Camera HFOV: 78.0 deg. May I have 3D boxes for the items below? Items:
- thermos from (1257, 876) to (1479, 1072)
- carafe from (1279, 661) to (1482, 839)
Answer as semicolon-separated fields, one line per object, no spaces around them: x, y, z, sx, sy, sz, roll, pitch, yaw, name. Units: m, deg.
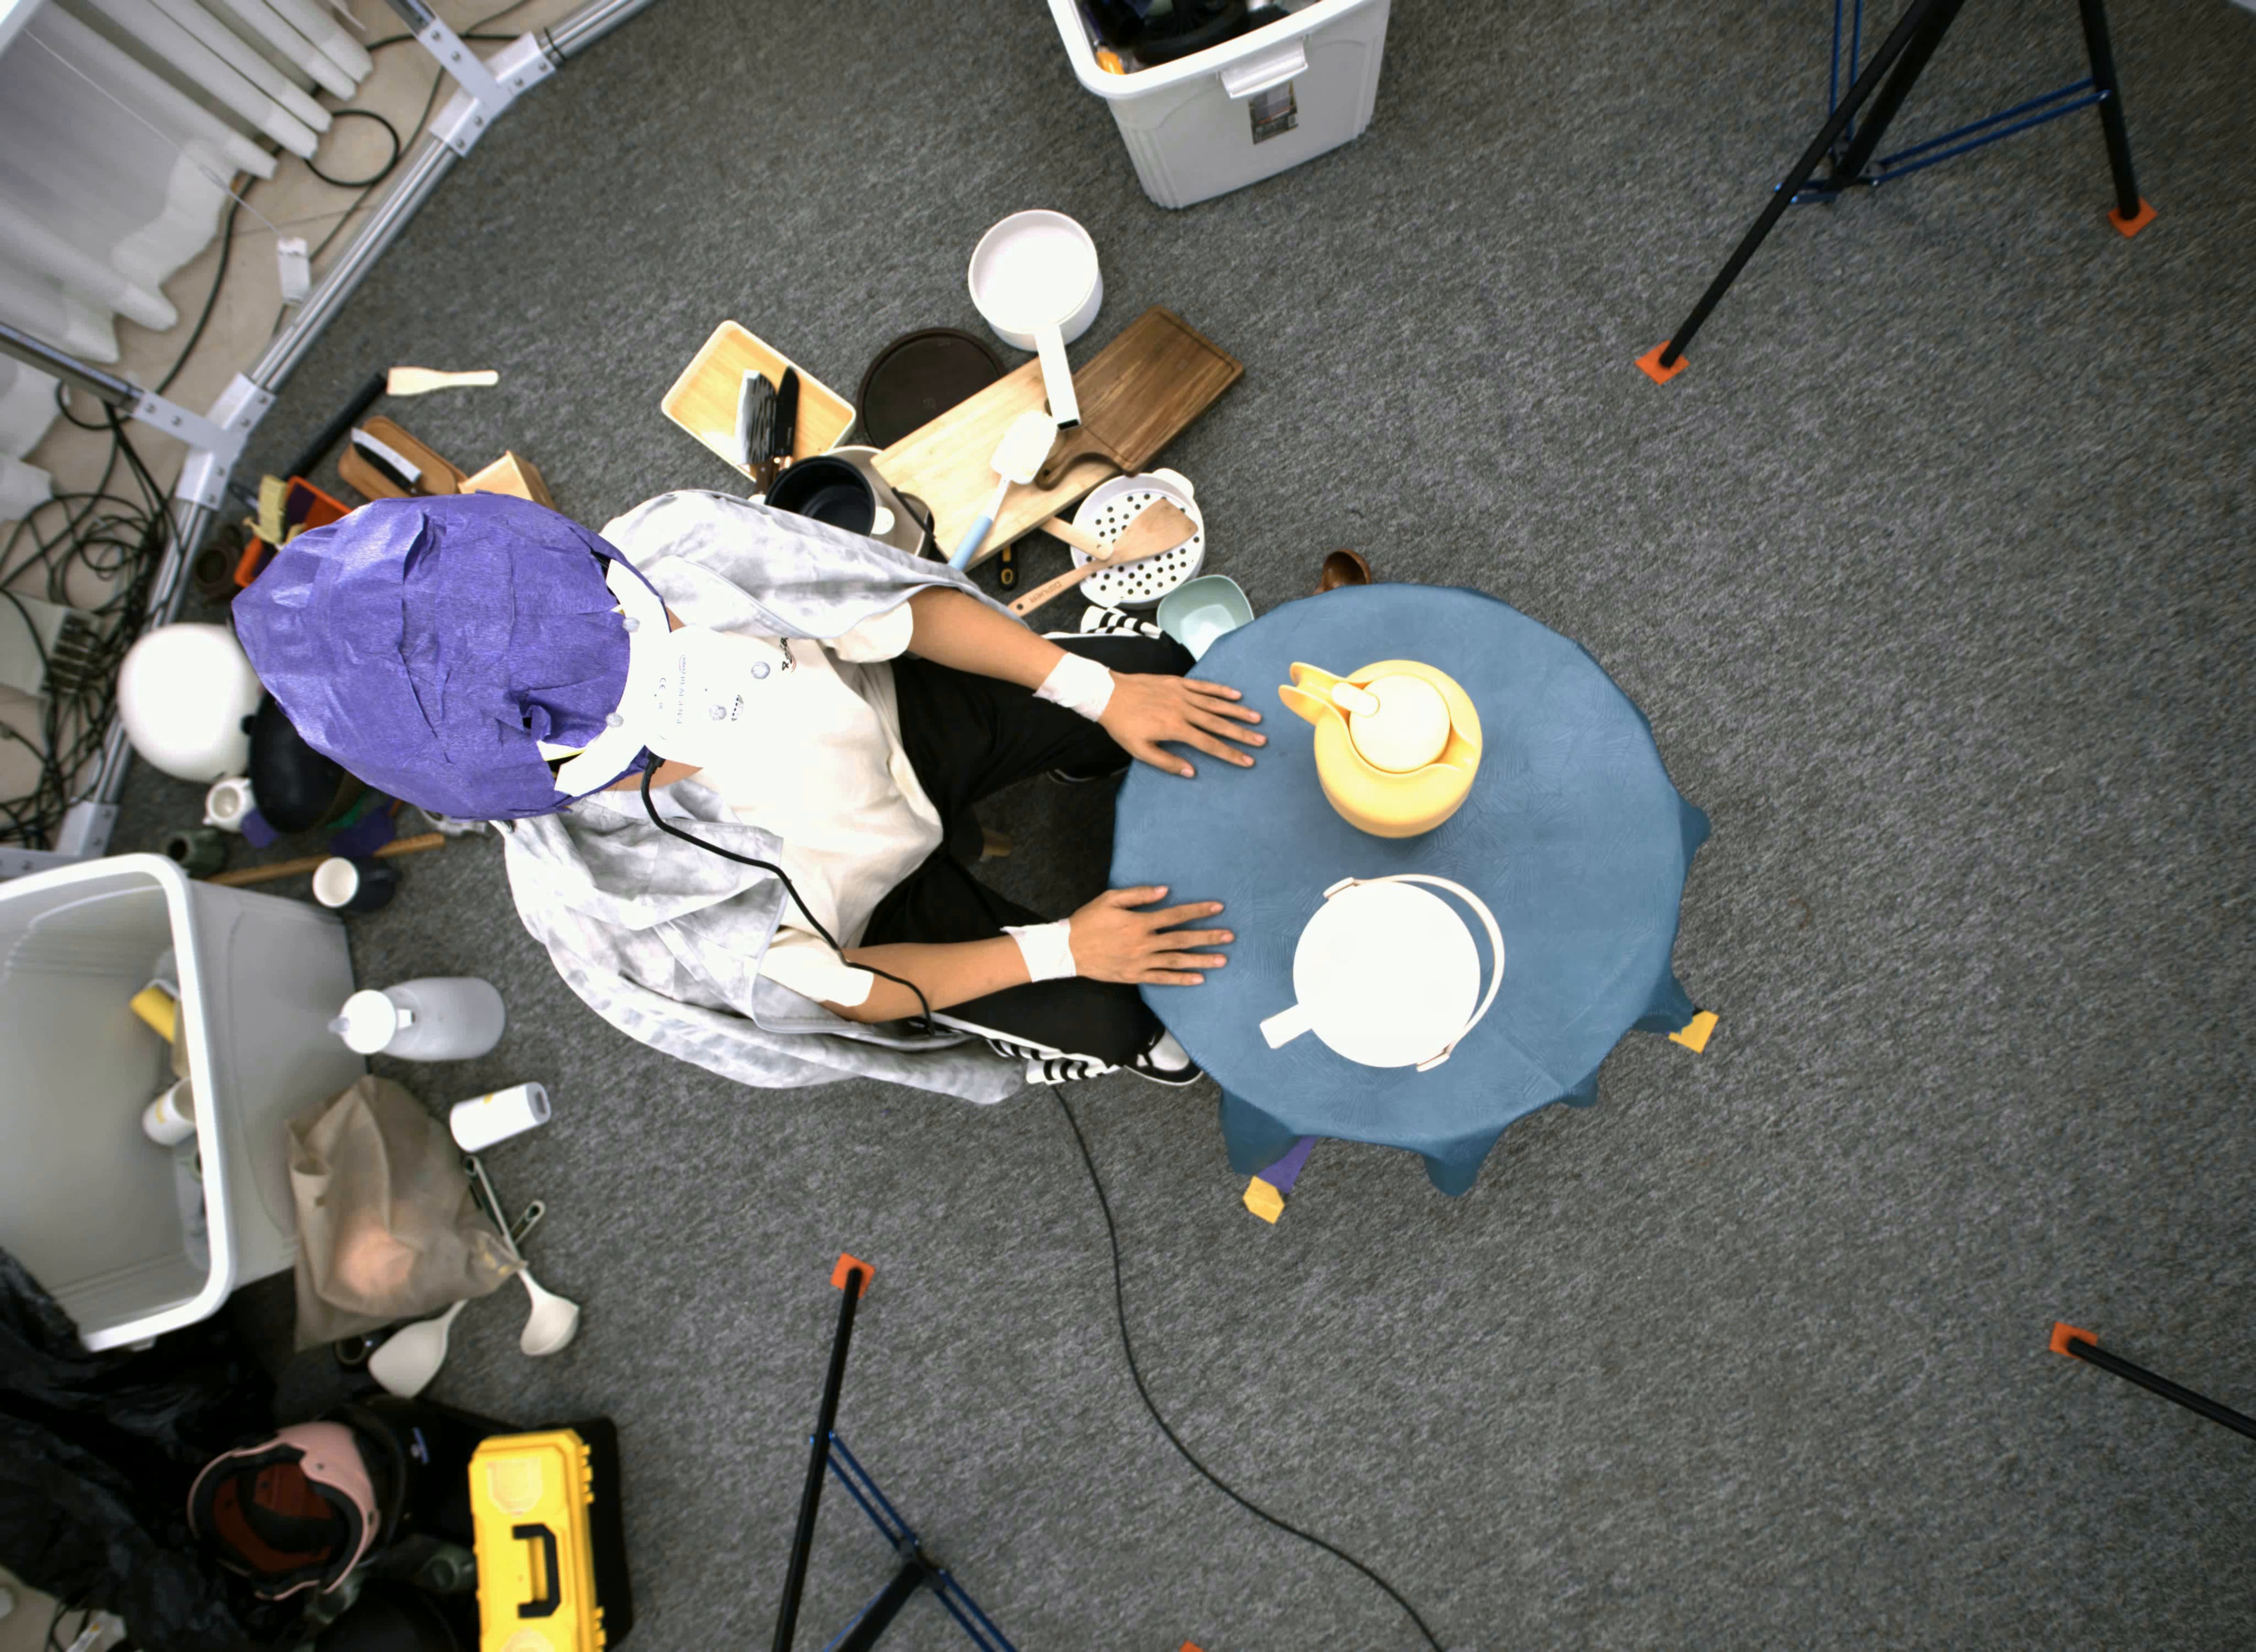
0.219;0.139;1.262;0.208;0.407;0.174;-28;81;6;thermos
0.244;-0.090;1.339;0.202;0.261;0.163;30;88;10;carafe
